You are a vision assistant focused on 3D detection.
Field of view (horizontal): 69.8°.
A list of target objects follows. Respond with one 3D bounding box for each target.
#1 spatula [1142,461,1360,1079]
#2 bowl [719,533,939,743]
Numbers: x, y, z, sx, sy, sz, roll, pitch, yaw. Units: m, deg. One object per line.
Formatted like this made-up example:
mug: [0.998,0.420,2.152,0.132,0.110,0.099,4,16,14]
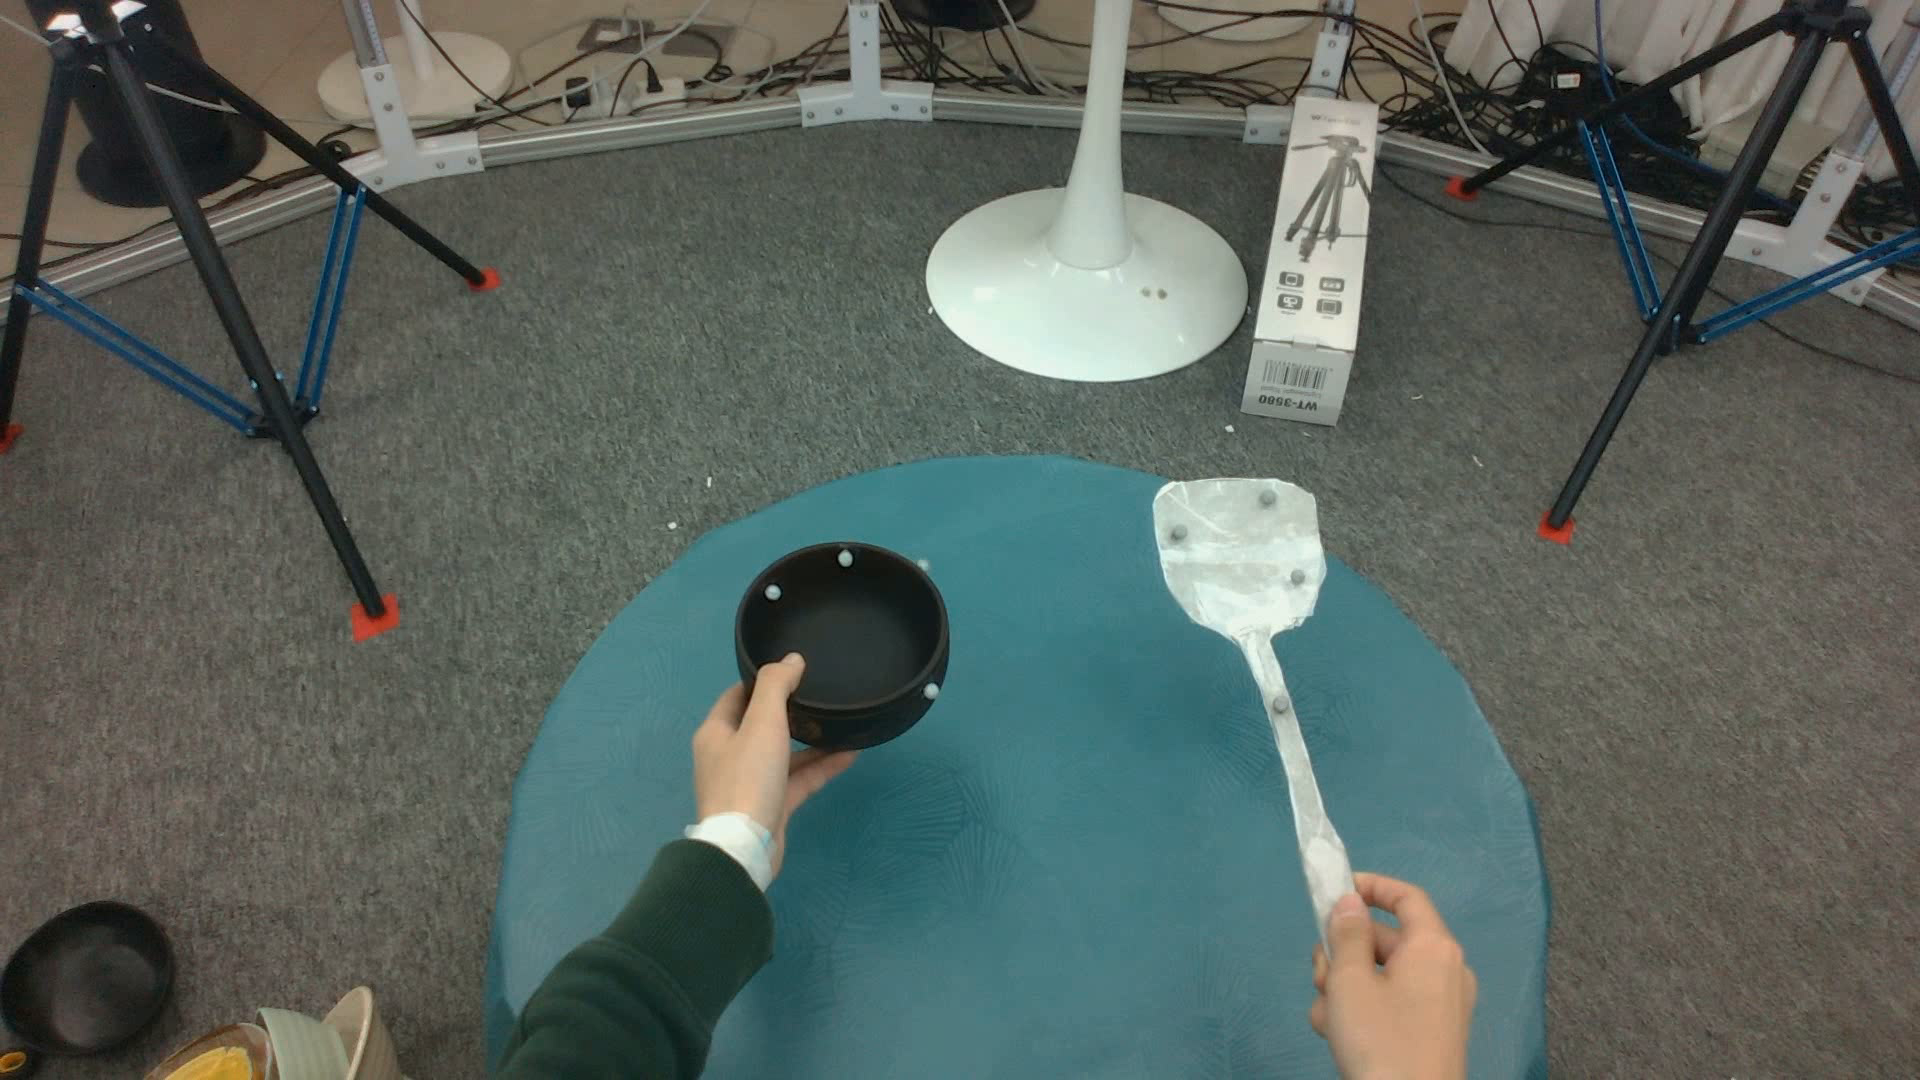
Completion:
spatula: [0.159,0.095,0.702,0.099,0.044,0.366,3,43,-5]
bowl: [-0.070,0.061,0.757,0.118,0.069,0.118,0,49,0]
